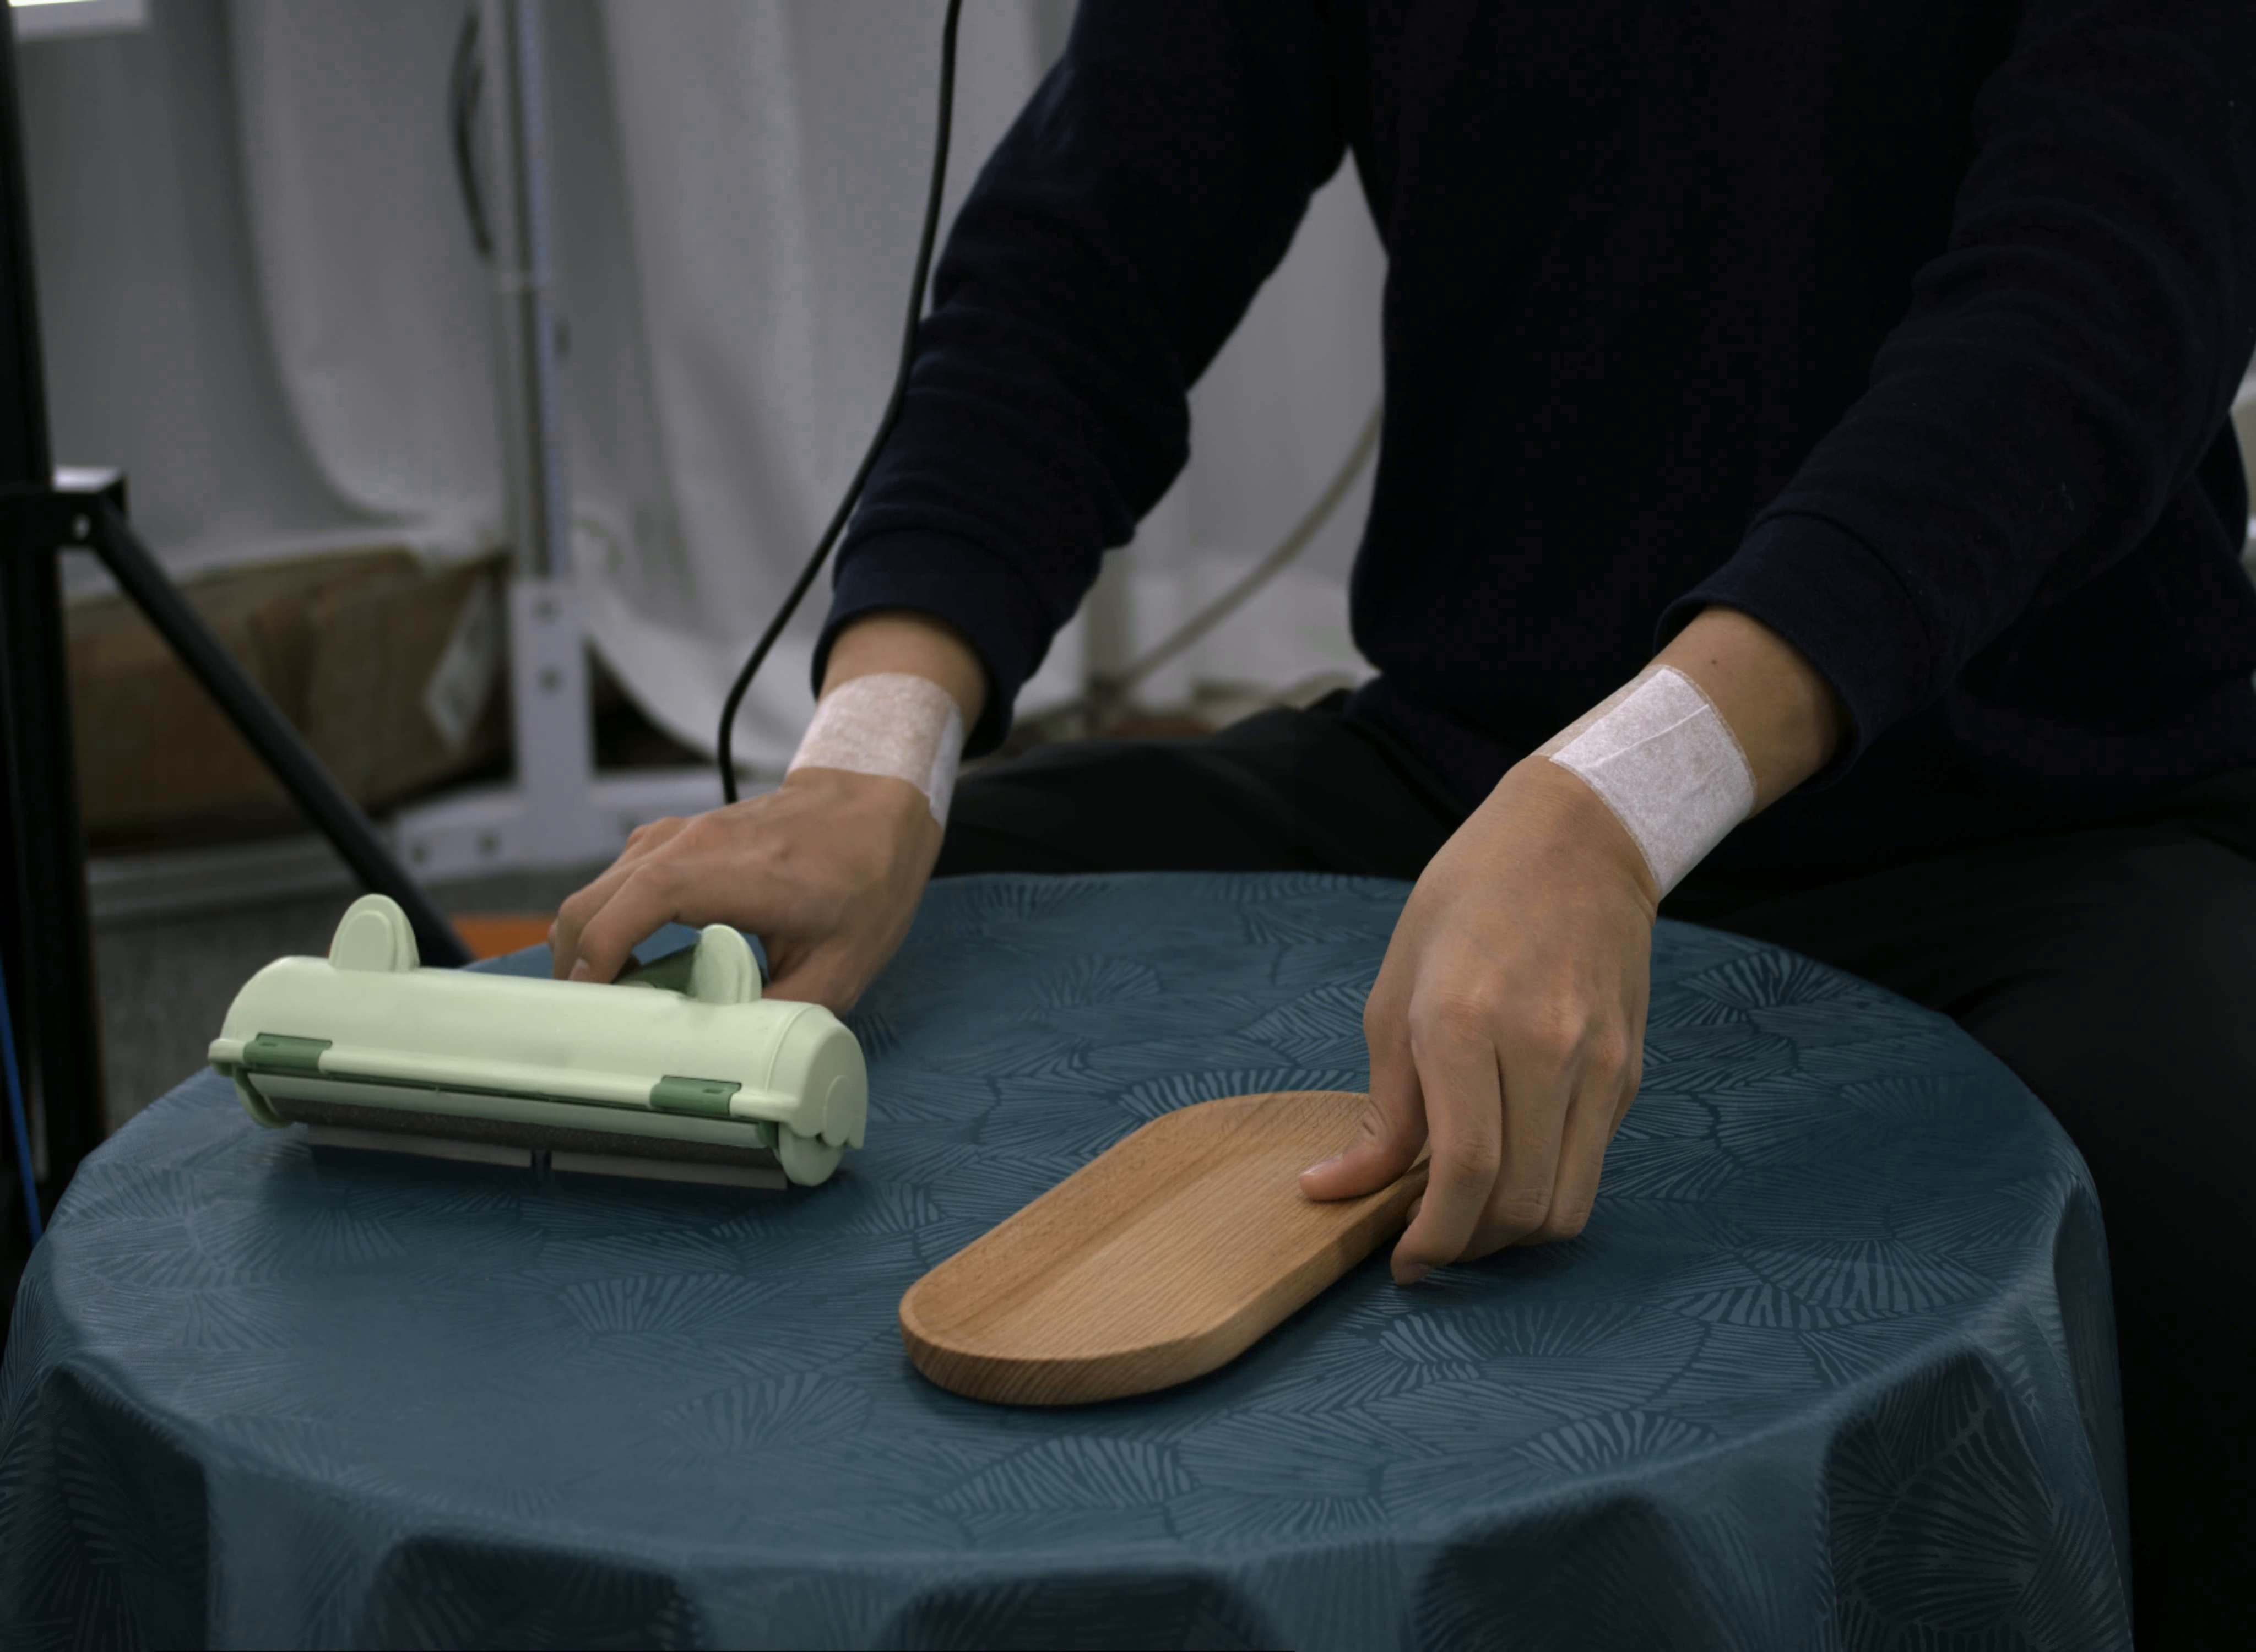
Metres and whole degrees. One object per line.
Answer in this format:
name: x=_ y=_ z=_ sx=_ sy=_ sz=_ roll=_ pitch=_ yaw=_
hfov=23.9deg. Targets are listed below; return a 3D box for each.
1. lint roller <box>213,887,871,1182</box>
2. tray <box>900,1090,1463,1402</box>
lint roller: x=-0.156 y=0.045 z=1.648 sx=0.201 sy=0.082 sz=0.181 roll=5 pitch=23 yaw=22
tray: x=0.018 y=0.116 z=1.495 sx=0.103 sy=0.020 sz=0.227 roll=4 pitch=16 yaw=27
